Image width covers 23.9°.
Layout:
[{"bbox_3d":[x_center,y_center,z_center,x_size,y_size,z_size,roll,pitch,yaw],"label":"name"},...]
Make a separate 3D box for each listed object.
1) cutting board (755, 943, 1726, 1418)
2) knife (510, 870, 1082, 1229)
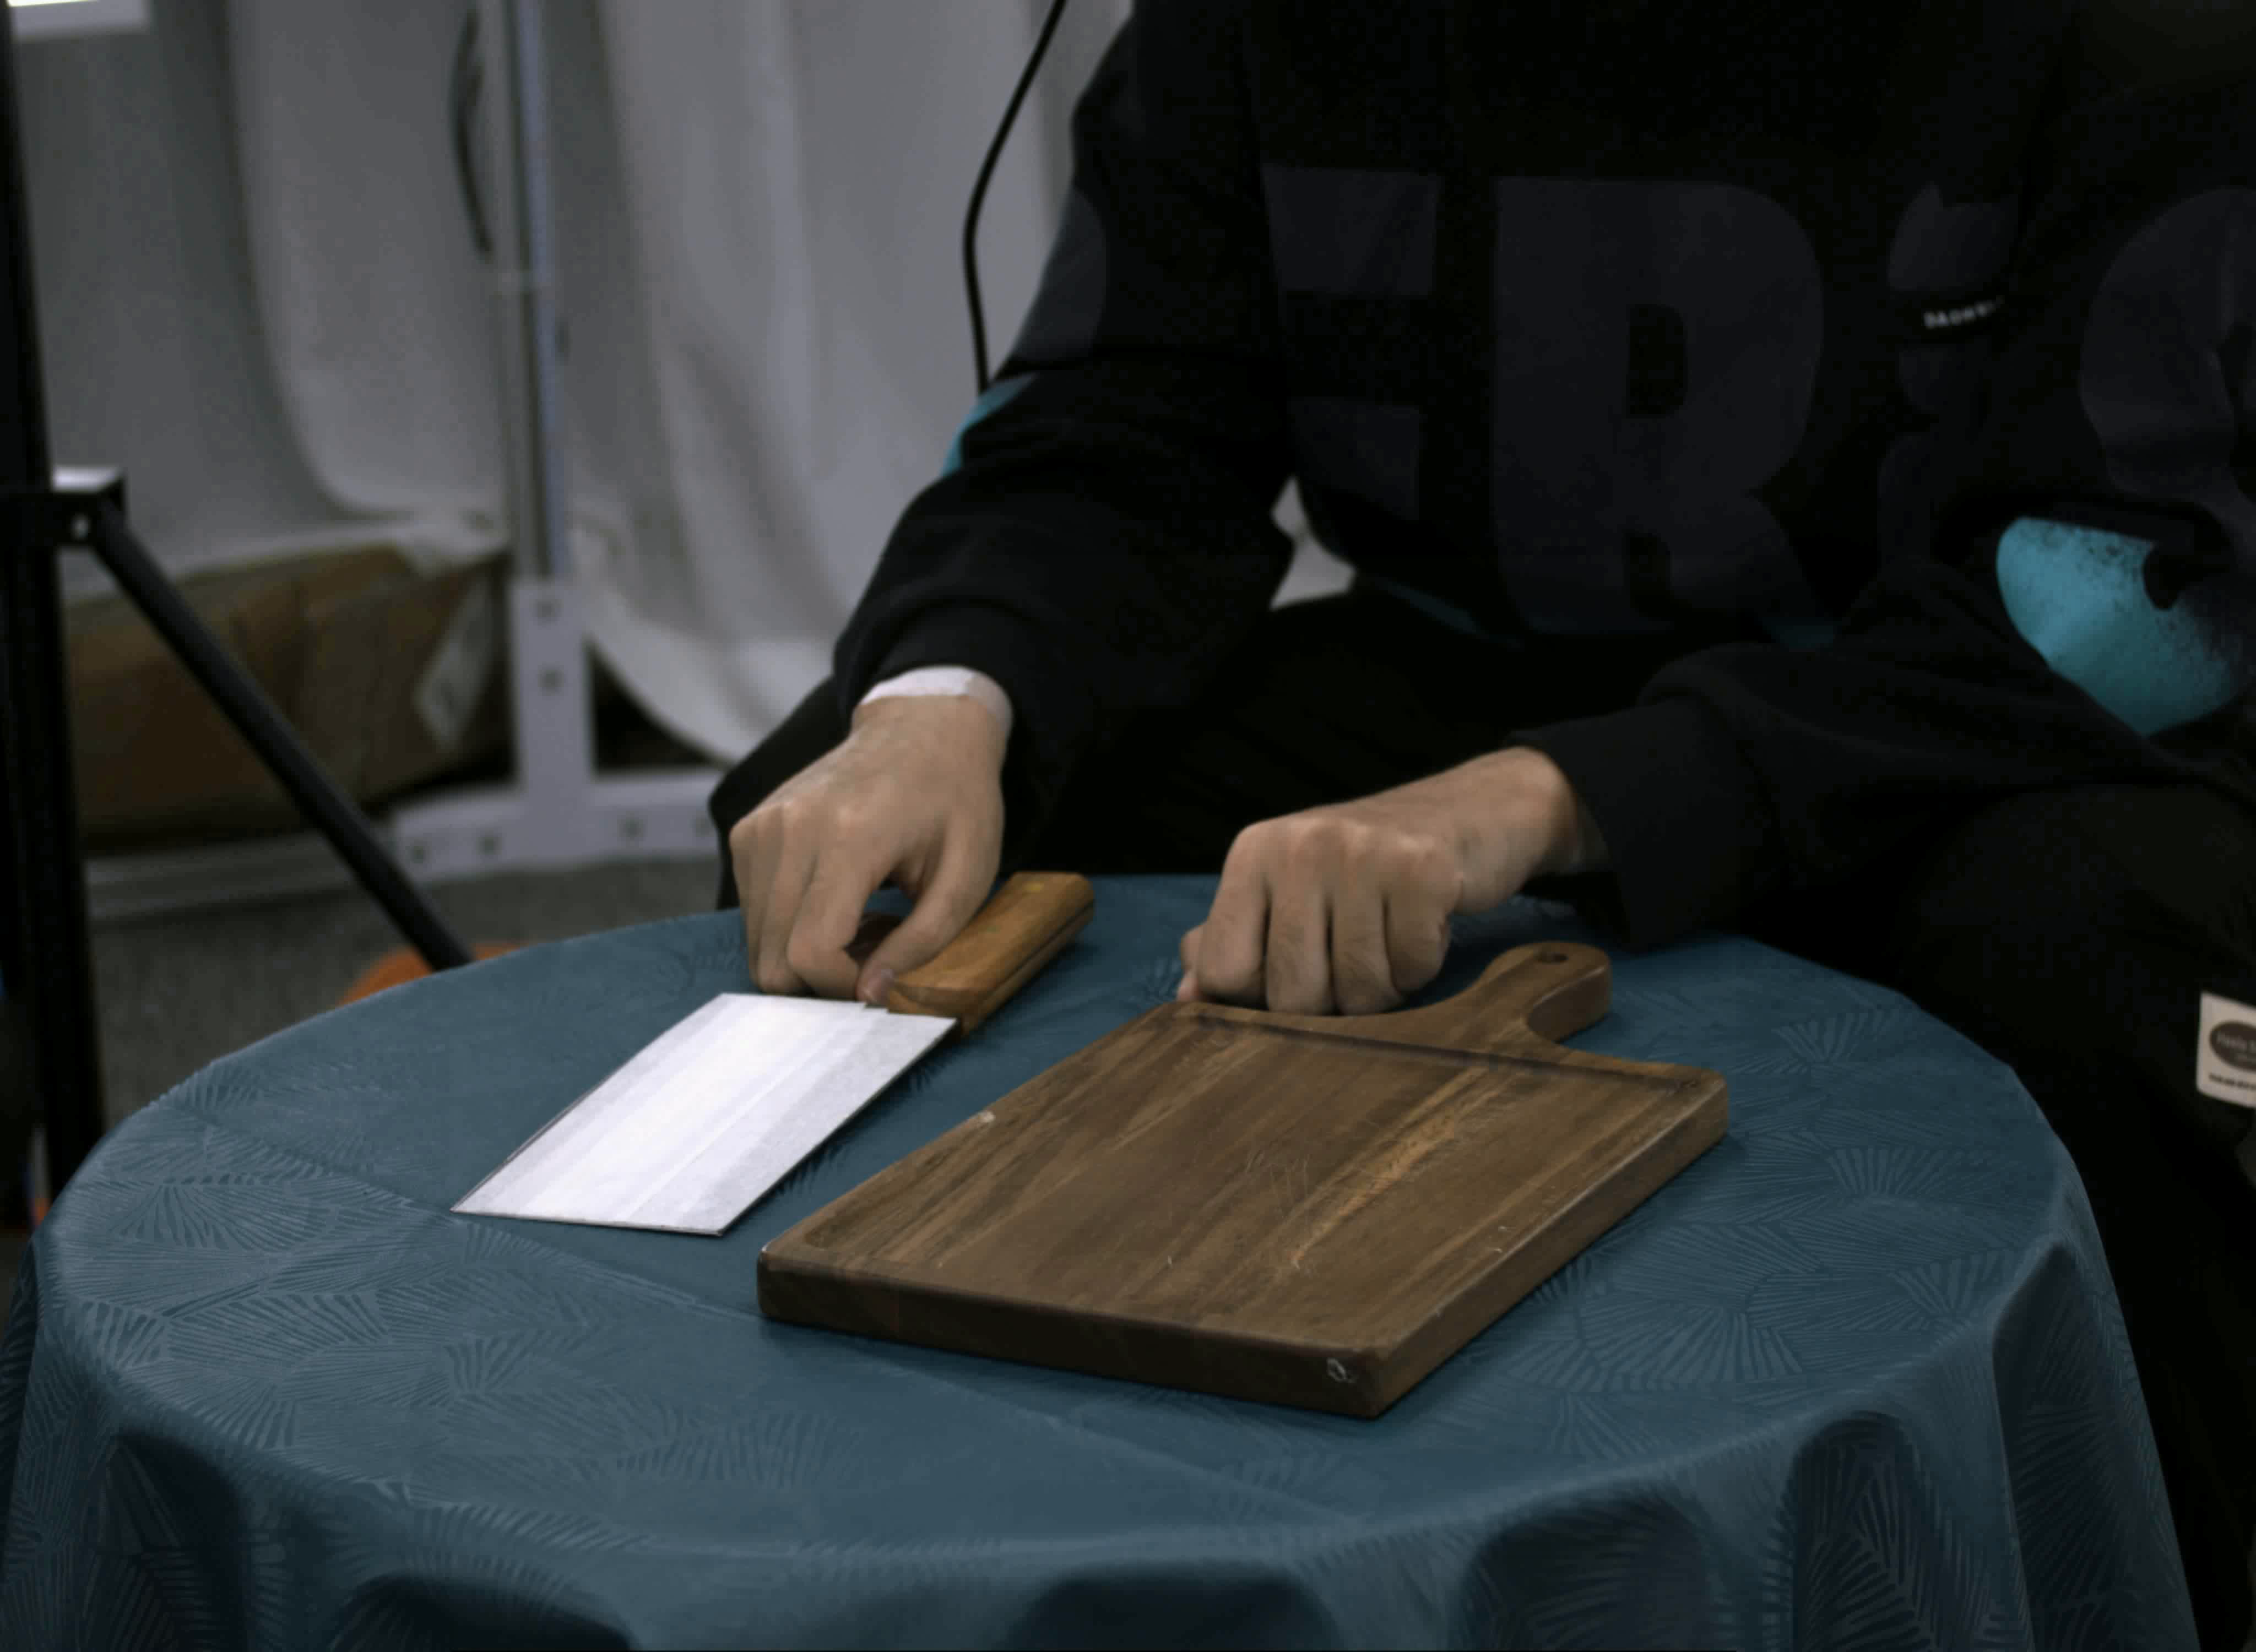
[{"bbox_3d":[0.061,0.093,1.564,0.204,0.023,0.346,6,18,28],"label":"cutting board"},{"bbox_3d":[-0.103,0.069,1.686,0.094,0.021,0.302,2,19,22],"label":"knife"}]
